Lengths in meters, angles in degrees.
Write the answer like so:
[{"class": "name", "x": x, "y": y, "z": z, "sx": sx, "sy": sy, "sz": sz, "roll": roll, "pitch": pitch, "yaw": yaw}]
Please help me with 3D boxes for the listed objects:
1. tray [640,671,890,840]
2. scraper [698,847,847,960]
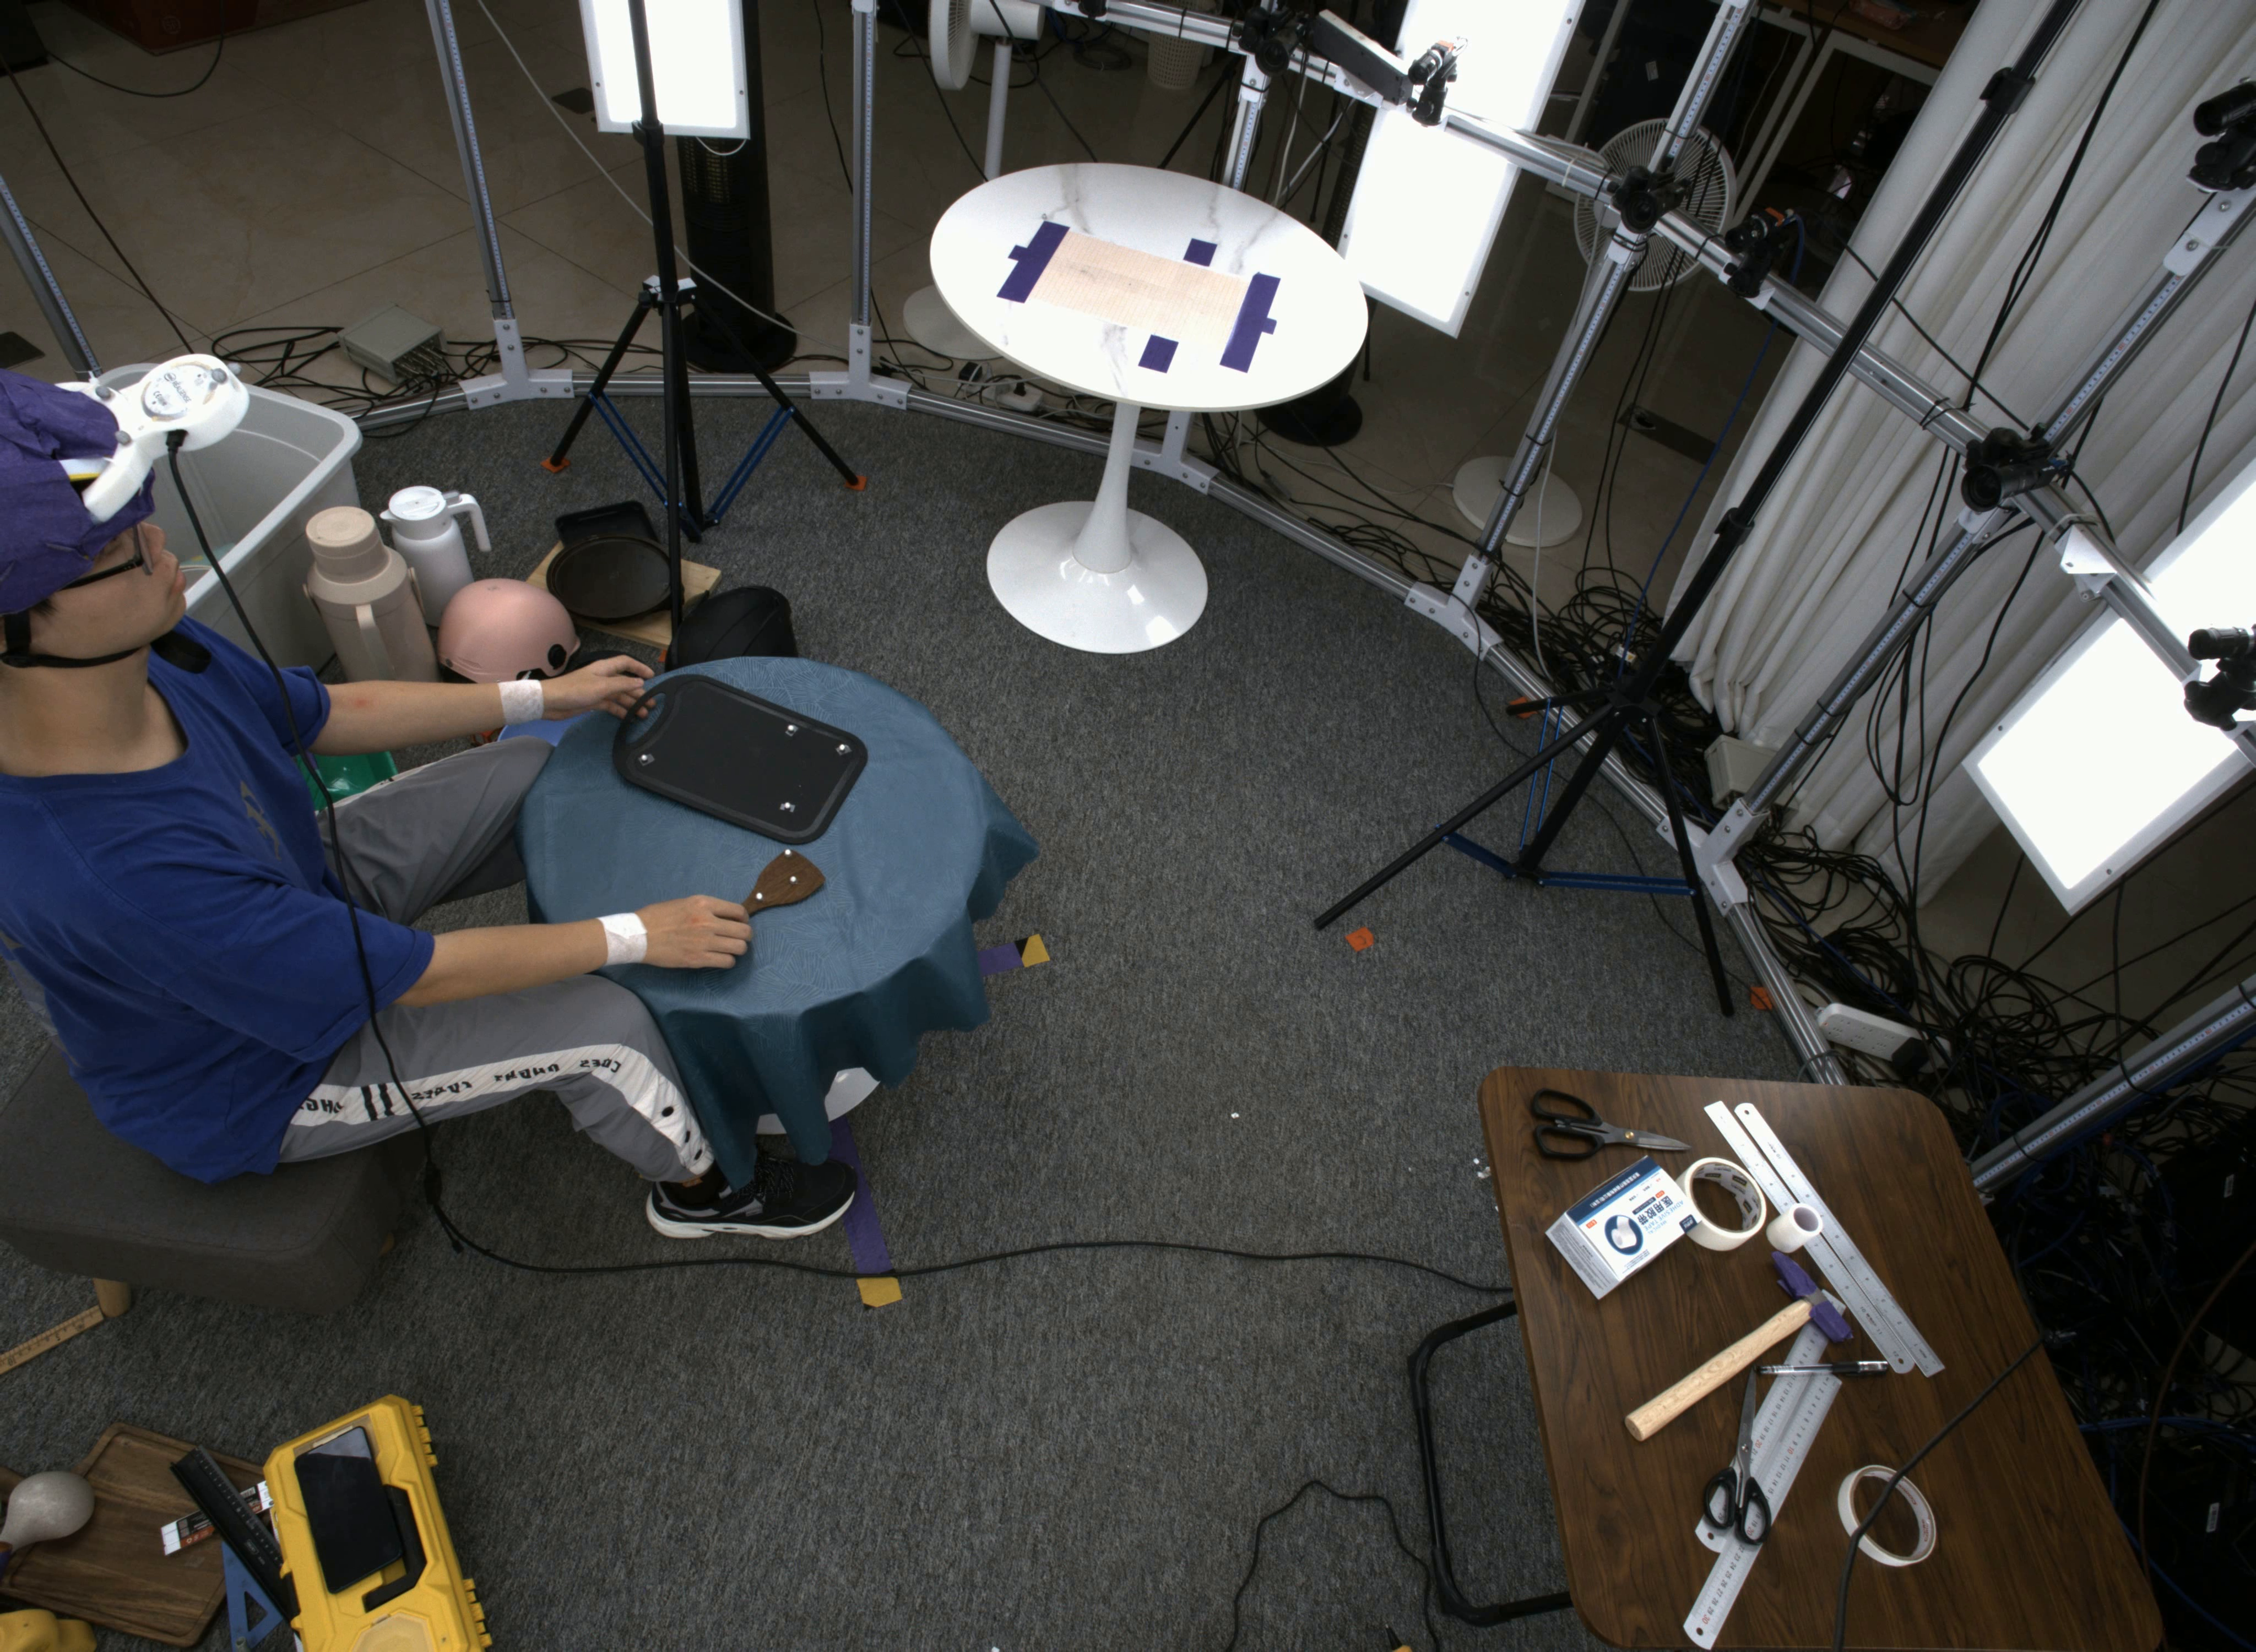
[{"class": "tray", "x": -0.505, "y": -0.105, "z": 1.777, "sx": 0.323, "sy": 0.010, "sz": 0.209, "roll": 23, "pitch": 52, "yaw": -1}, {"class": "scraper", "x": -0.456, "y": 0.100, "z": 1.646, "sx": 0.074, "sy": 0.011, "sz": 0.211, "roll": 40, "pitch": 55, "yaw": 17}]
